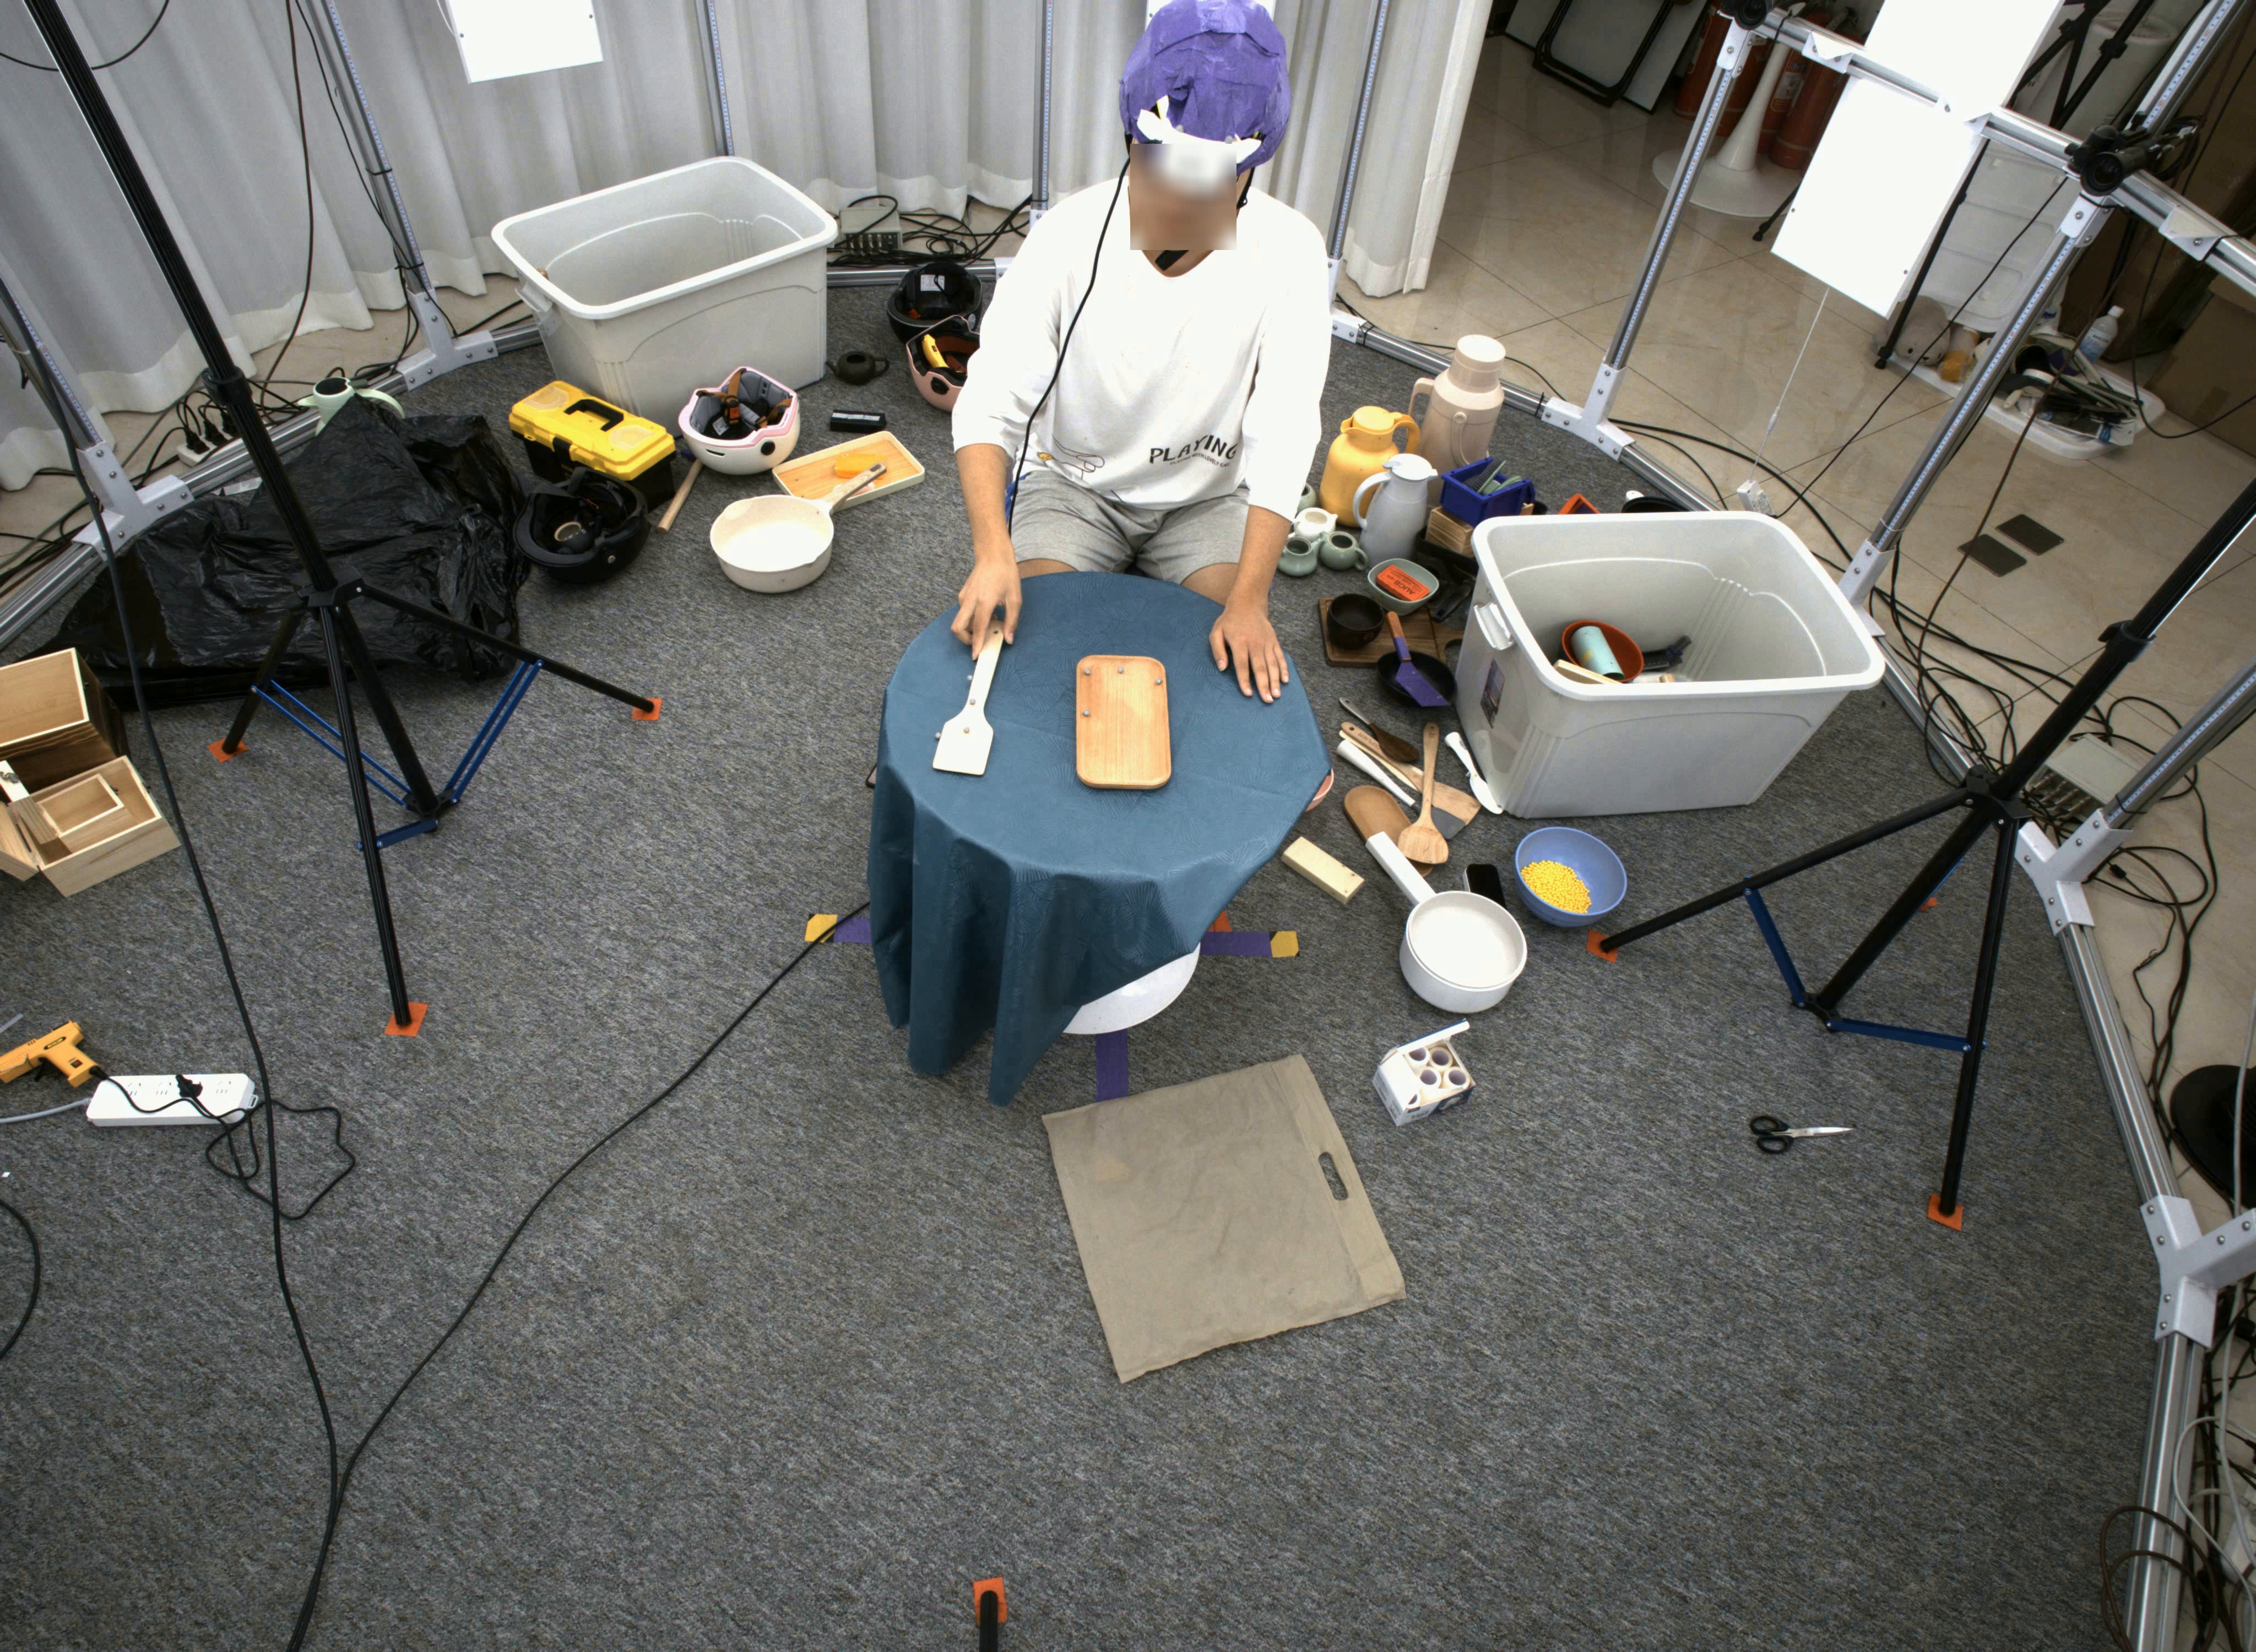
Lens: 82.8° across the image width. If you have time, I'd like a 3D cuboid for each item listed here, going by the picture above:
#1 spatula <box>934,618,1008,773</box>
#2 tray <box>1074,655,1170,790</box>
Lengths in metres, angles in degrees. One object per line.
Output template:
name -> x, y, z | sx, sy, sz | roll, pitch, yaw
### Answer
spatula -> -0.208, -0.189, 1.801 | 0.072, 0.010, 0.300 | 7, 52, 2
tray -> -0.009, -0.146, 1.780 | 0.130, 0.022, 0.257 | 1, 49, -1
